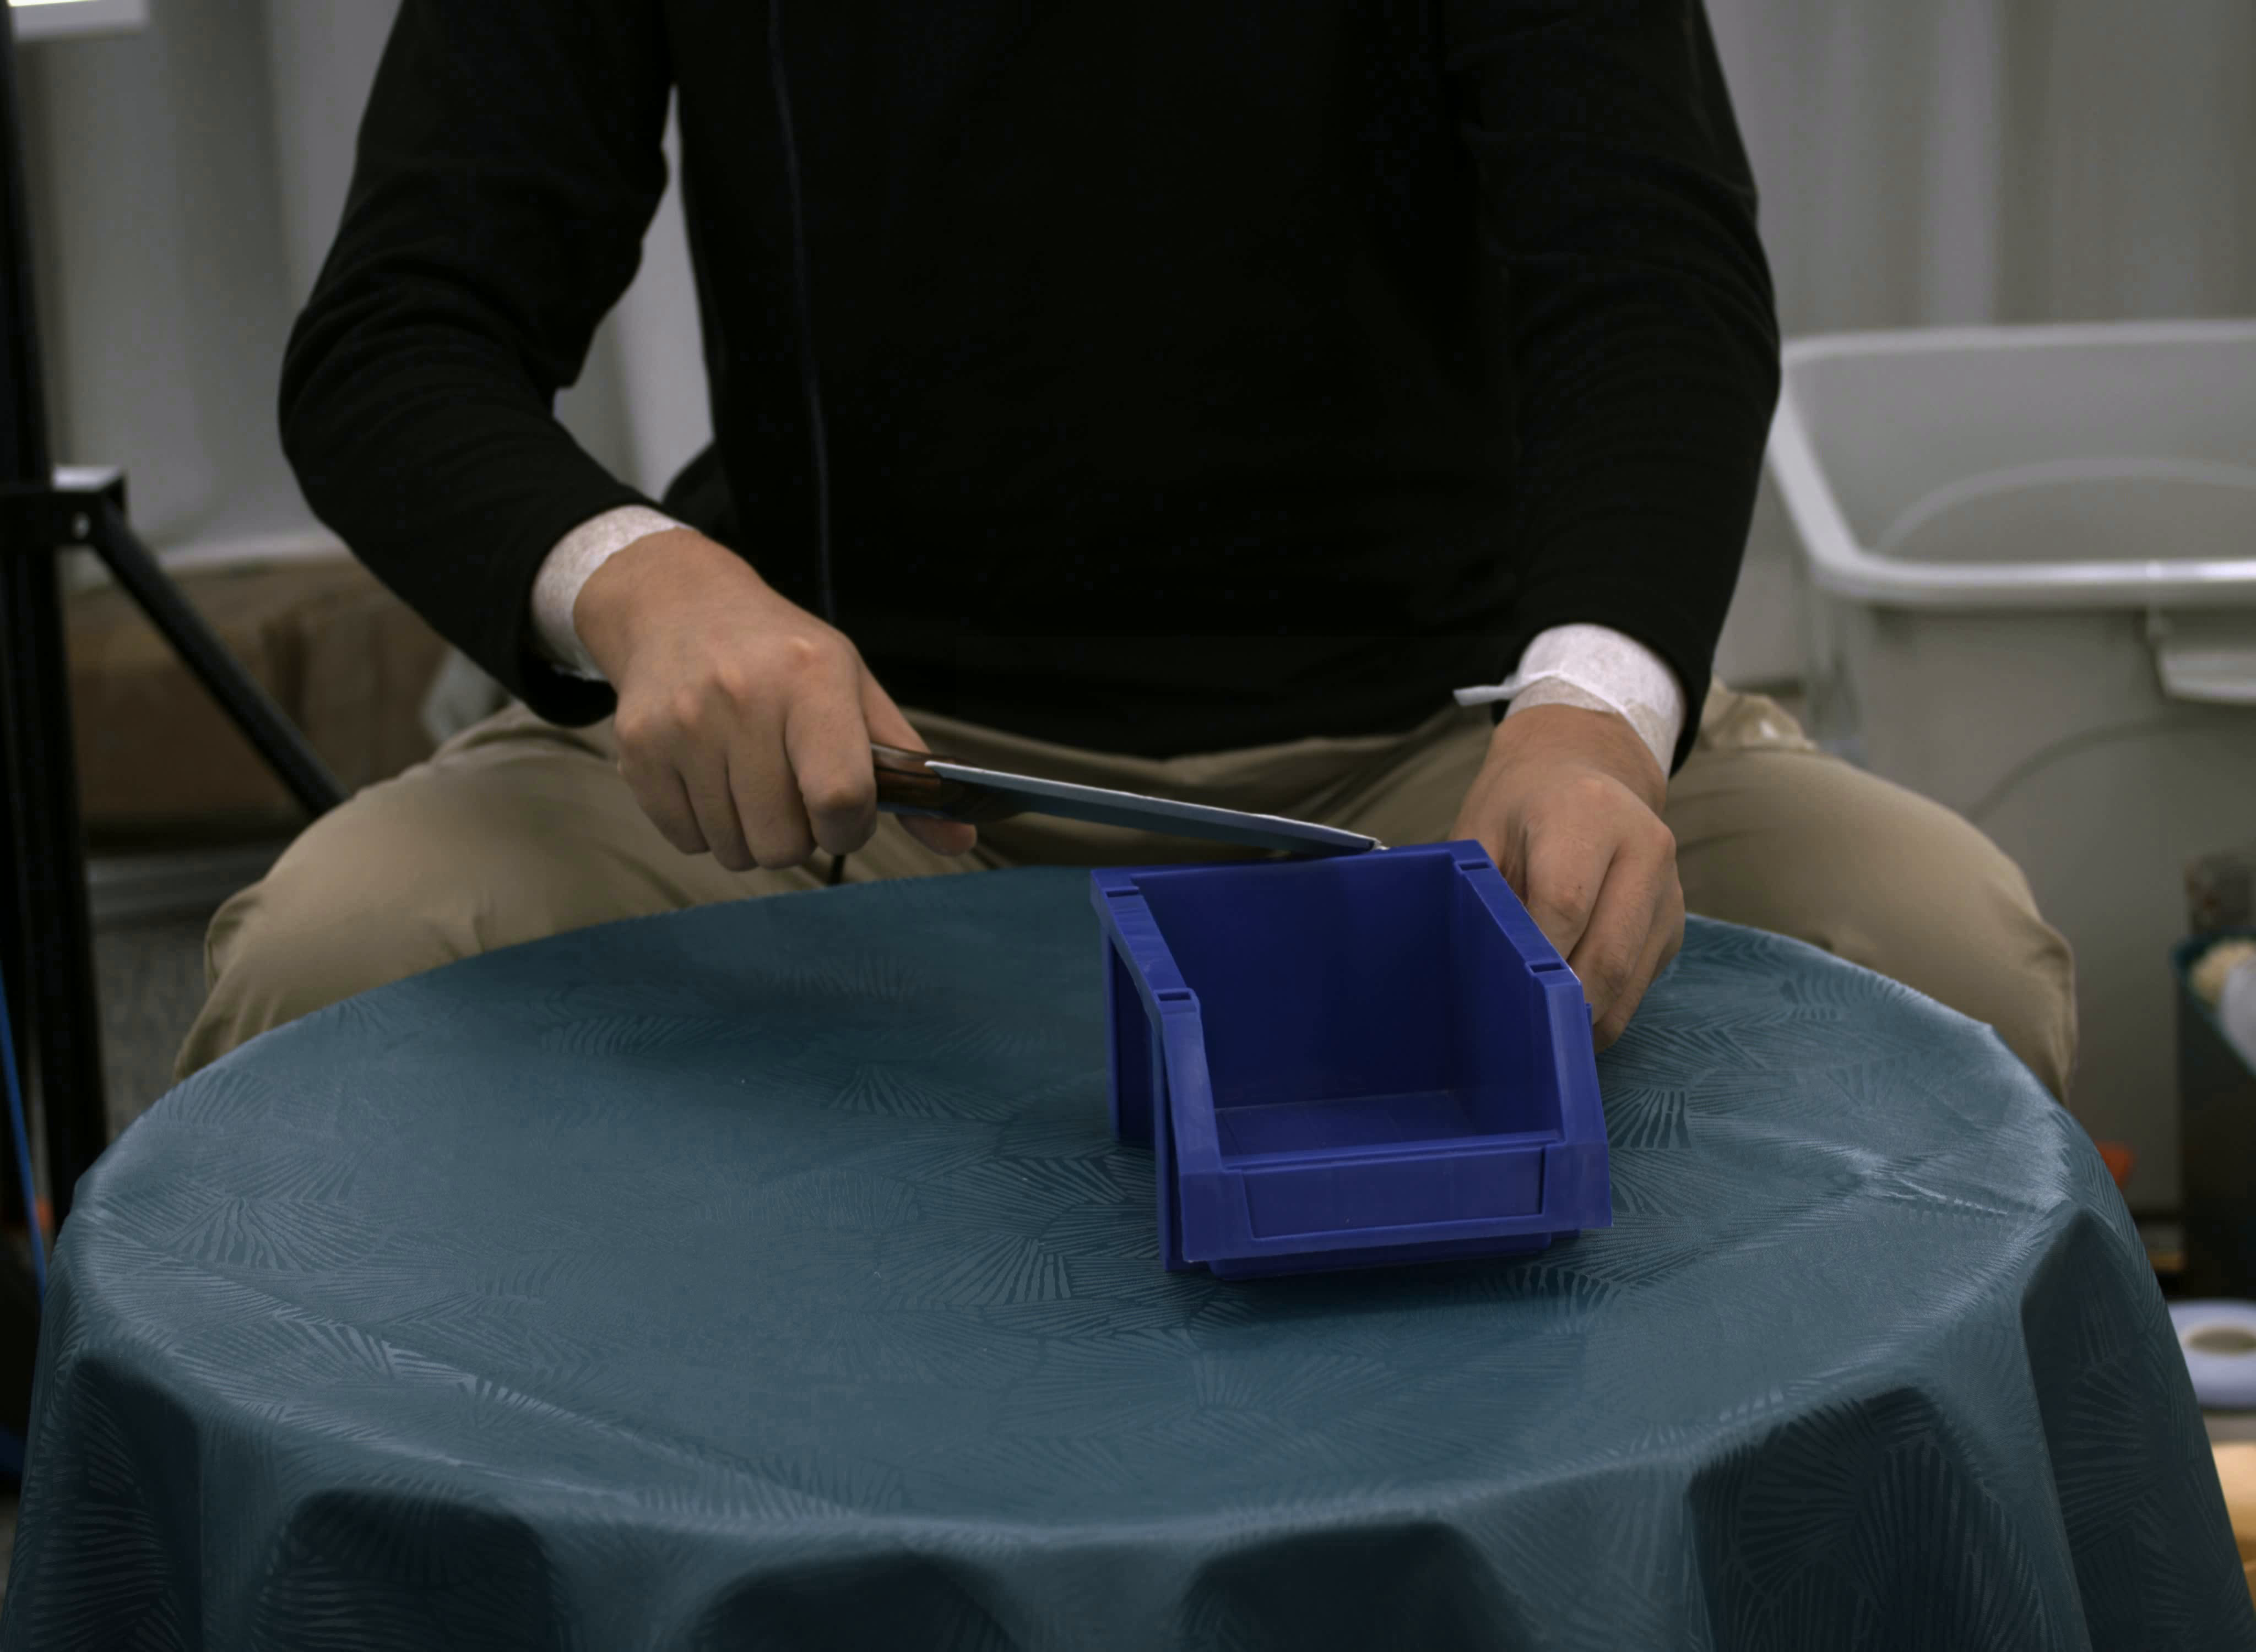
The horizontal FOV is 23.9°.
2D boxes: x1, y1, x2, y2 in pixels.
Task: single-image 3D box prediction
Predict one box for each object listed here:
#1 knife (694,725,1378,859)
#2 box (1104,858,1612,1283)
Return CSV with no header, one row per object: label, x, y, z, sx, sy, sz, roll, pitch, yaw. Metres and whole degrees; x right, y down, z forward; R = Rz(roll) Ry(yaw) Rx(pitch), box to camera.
knife,-0.033,-0.008,1.660,0.295,0.020,0.049,8,-13,43
box,0.065,0.072,1.523,0.123,0.082,0.181,-3,13,-5
